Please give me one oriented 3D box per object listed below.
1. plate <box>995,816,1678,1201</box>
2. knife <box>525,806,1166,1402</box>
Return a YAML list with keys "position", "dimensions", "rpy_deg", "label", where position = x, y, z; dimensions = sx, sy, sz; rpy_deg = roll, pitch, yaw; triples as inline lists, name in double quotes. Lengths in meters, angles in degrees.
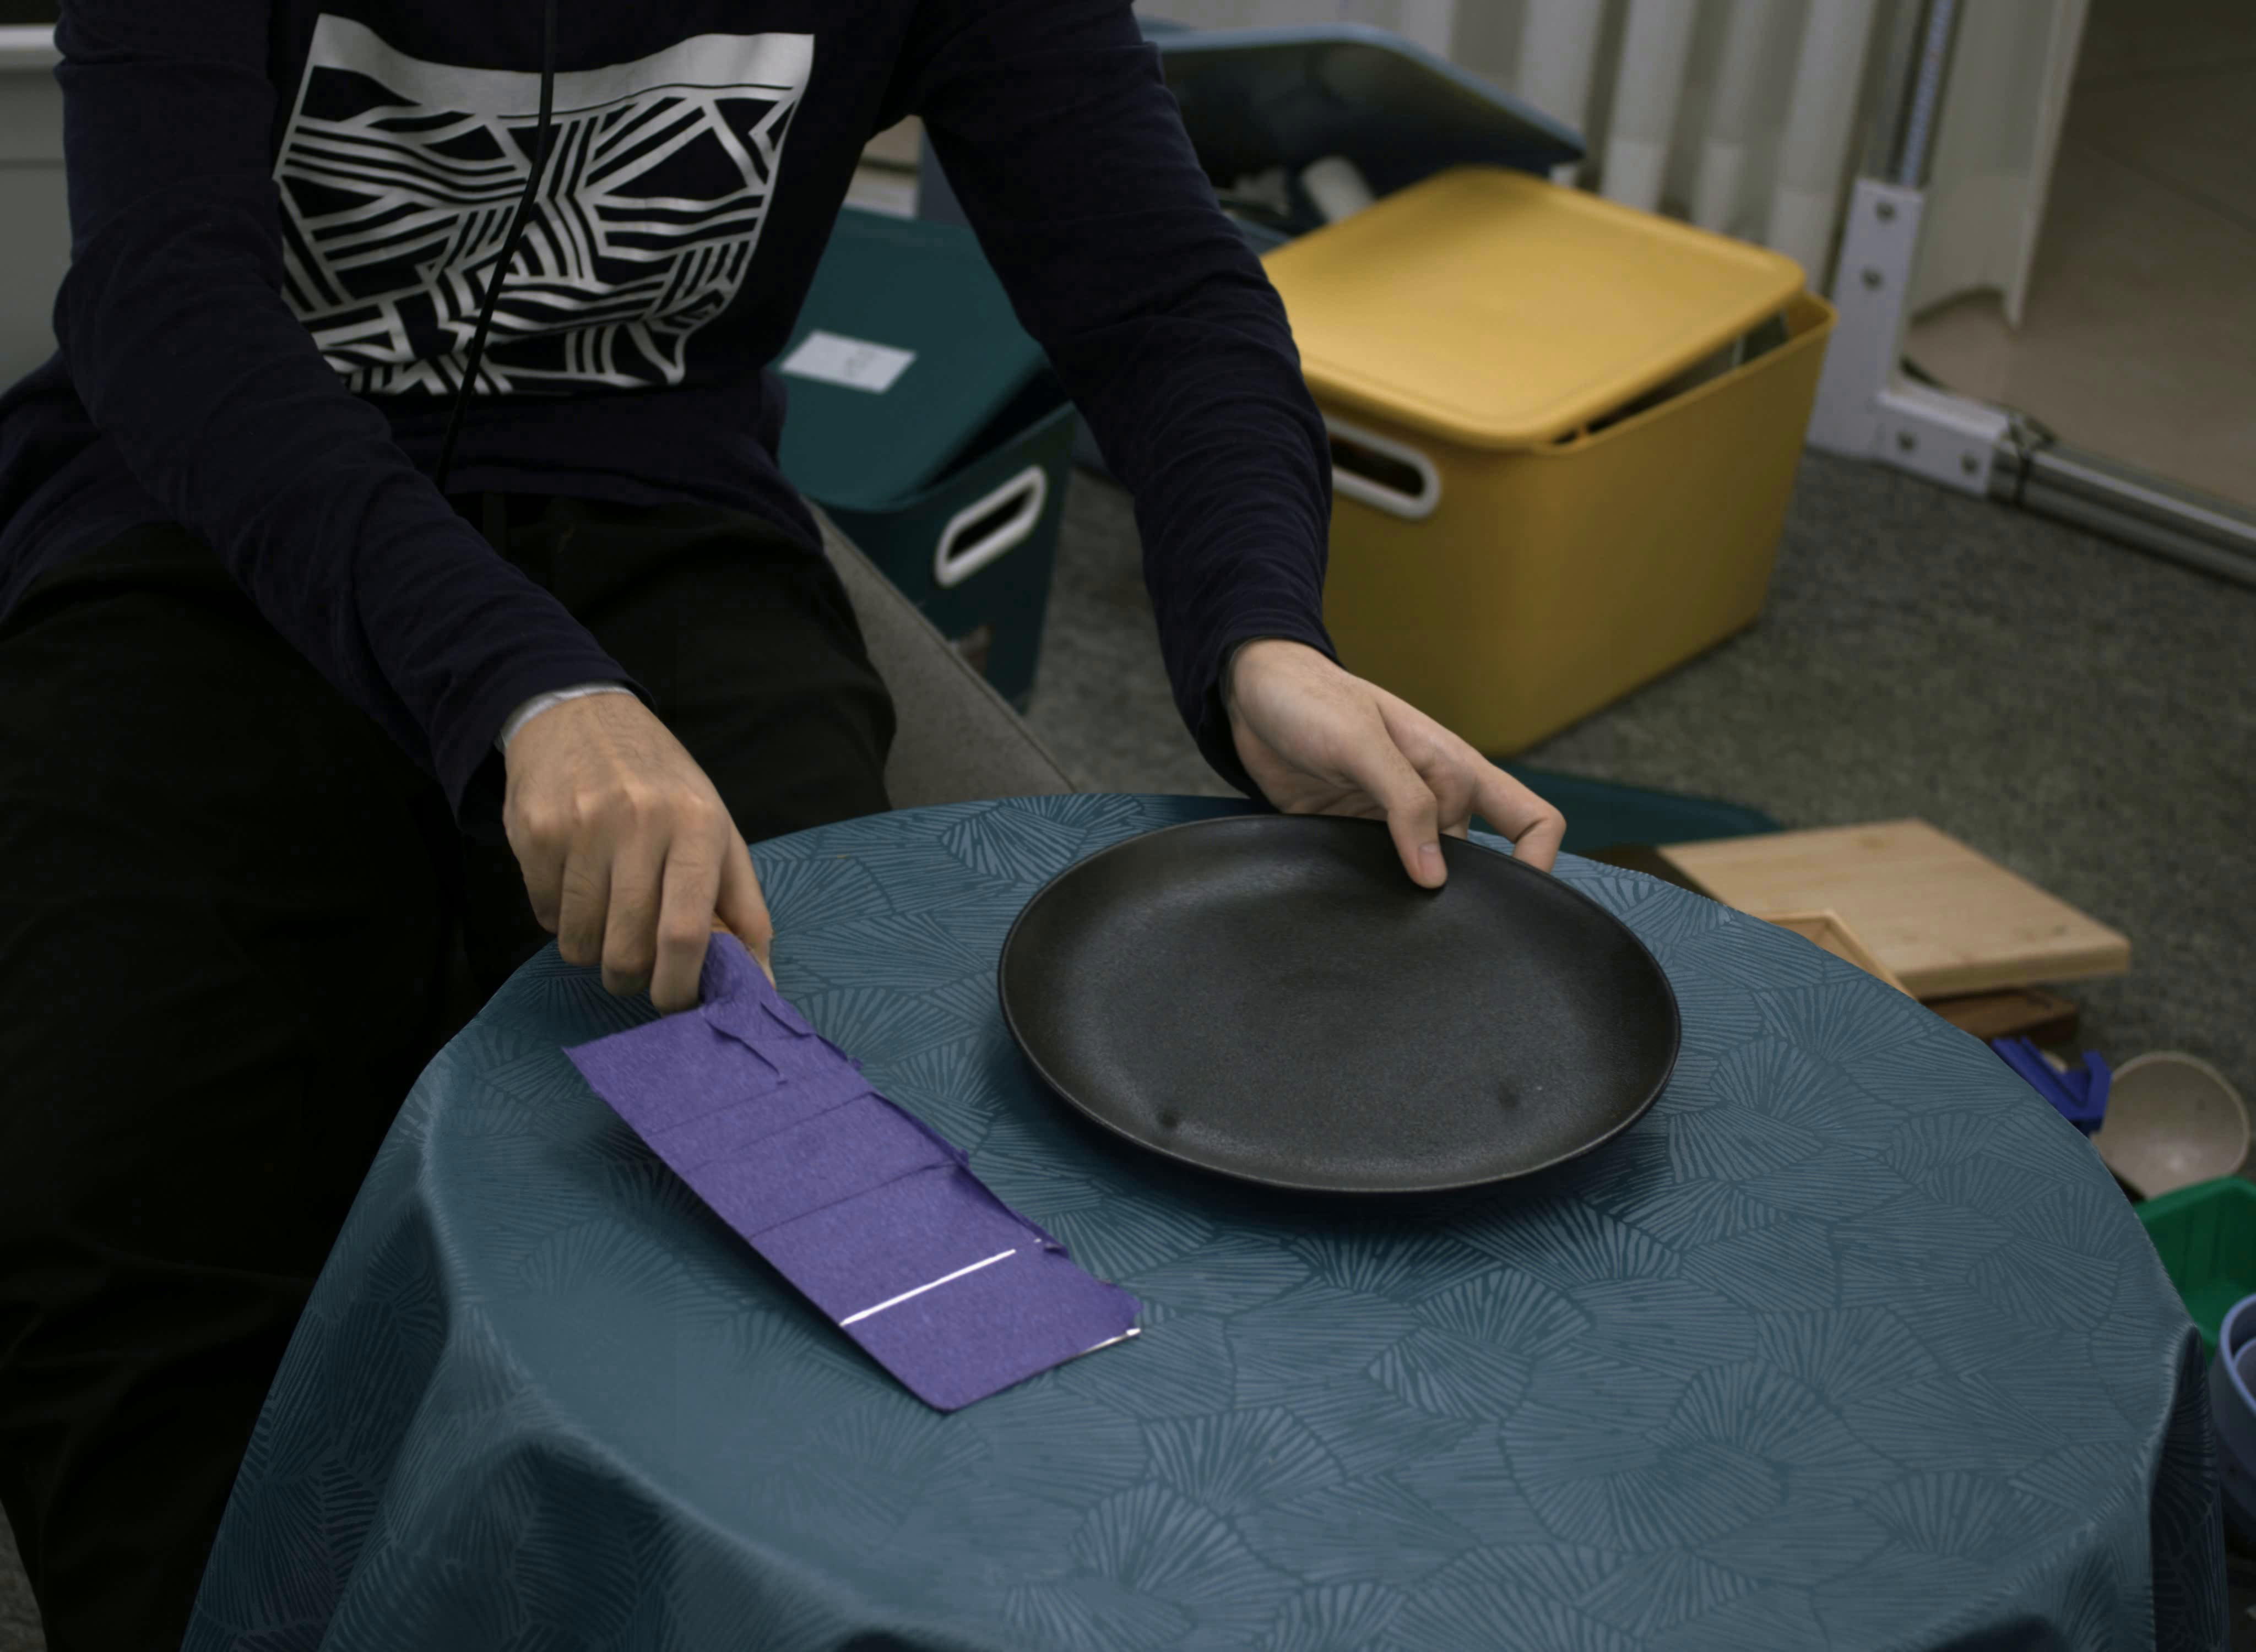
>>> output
- position: [0.073, 0.068, 1.890]
  dimensions: [0.243, 0.023, 0.246]
  rpy_deg: [3, 31, -2]
  label: "plate"
- position: [-0.124, 0.089, 1.784]
  dimensions: [0.103, 0.032, 0.318]
  rpy_deg: [-17, 41, -39]
  label: "knife"
